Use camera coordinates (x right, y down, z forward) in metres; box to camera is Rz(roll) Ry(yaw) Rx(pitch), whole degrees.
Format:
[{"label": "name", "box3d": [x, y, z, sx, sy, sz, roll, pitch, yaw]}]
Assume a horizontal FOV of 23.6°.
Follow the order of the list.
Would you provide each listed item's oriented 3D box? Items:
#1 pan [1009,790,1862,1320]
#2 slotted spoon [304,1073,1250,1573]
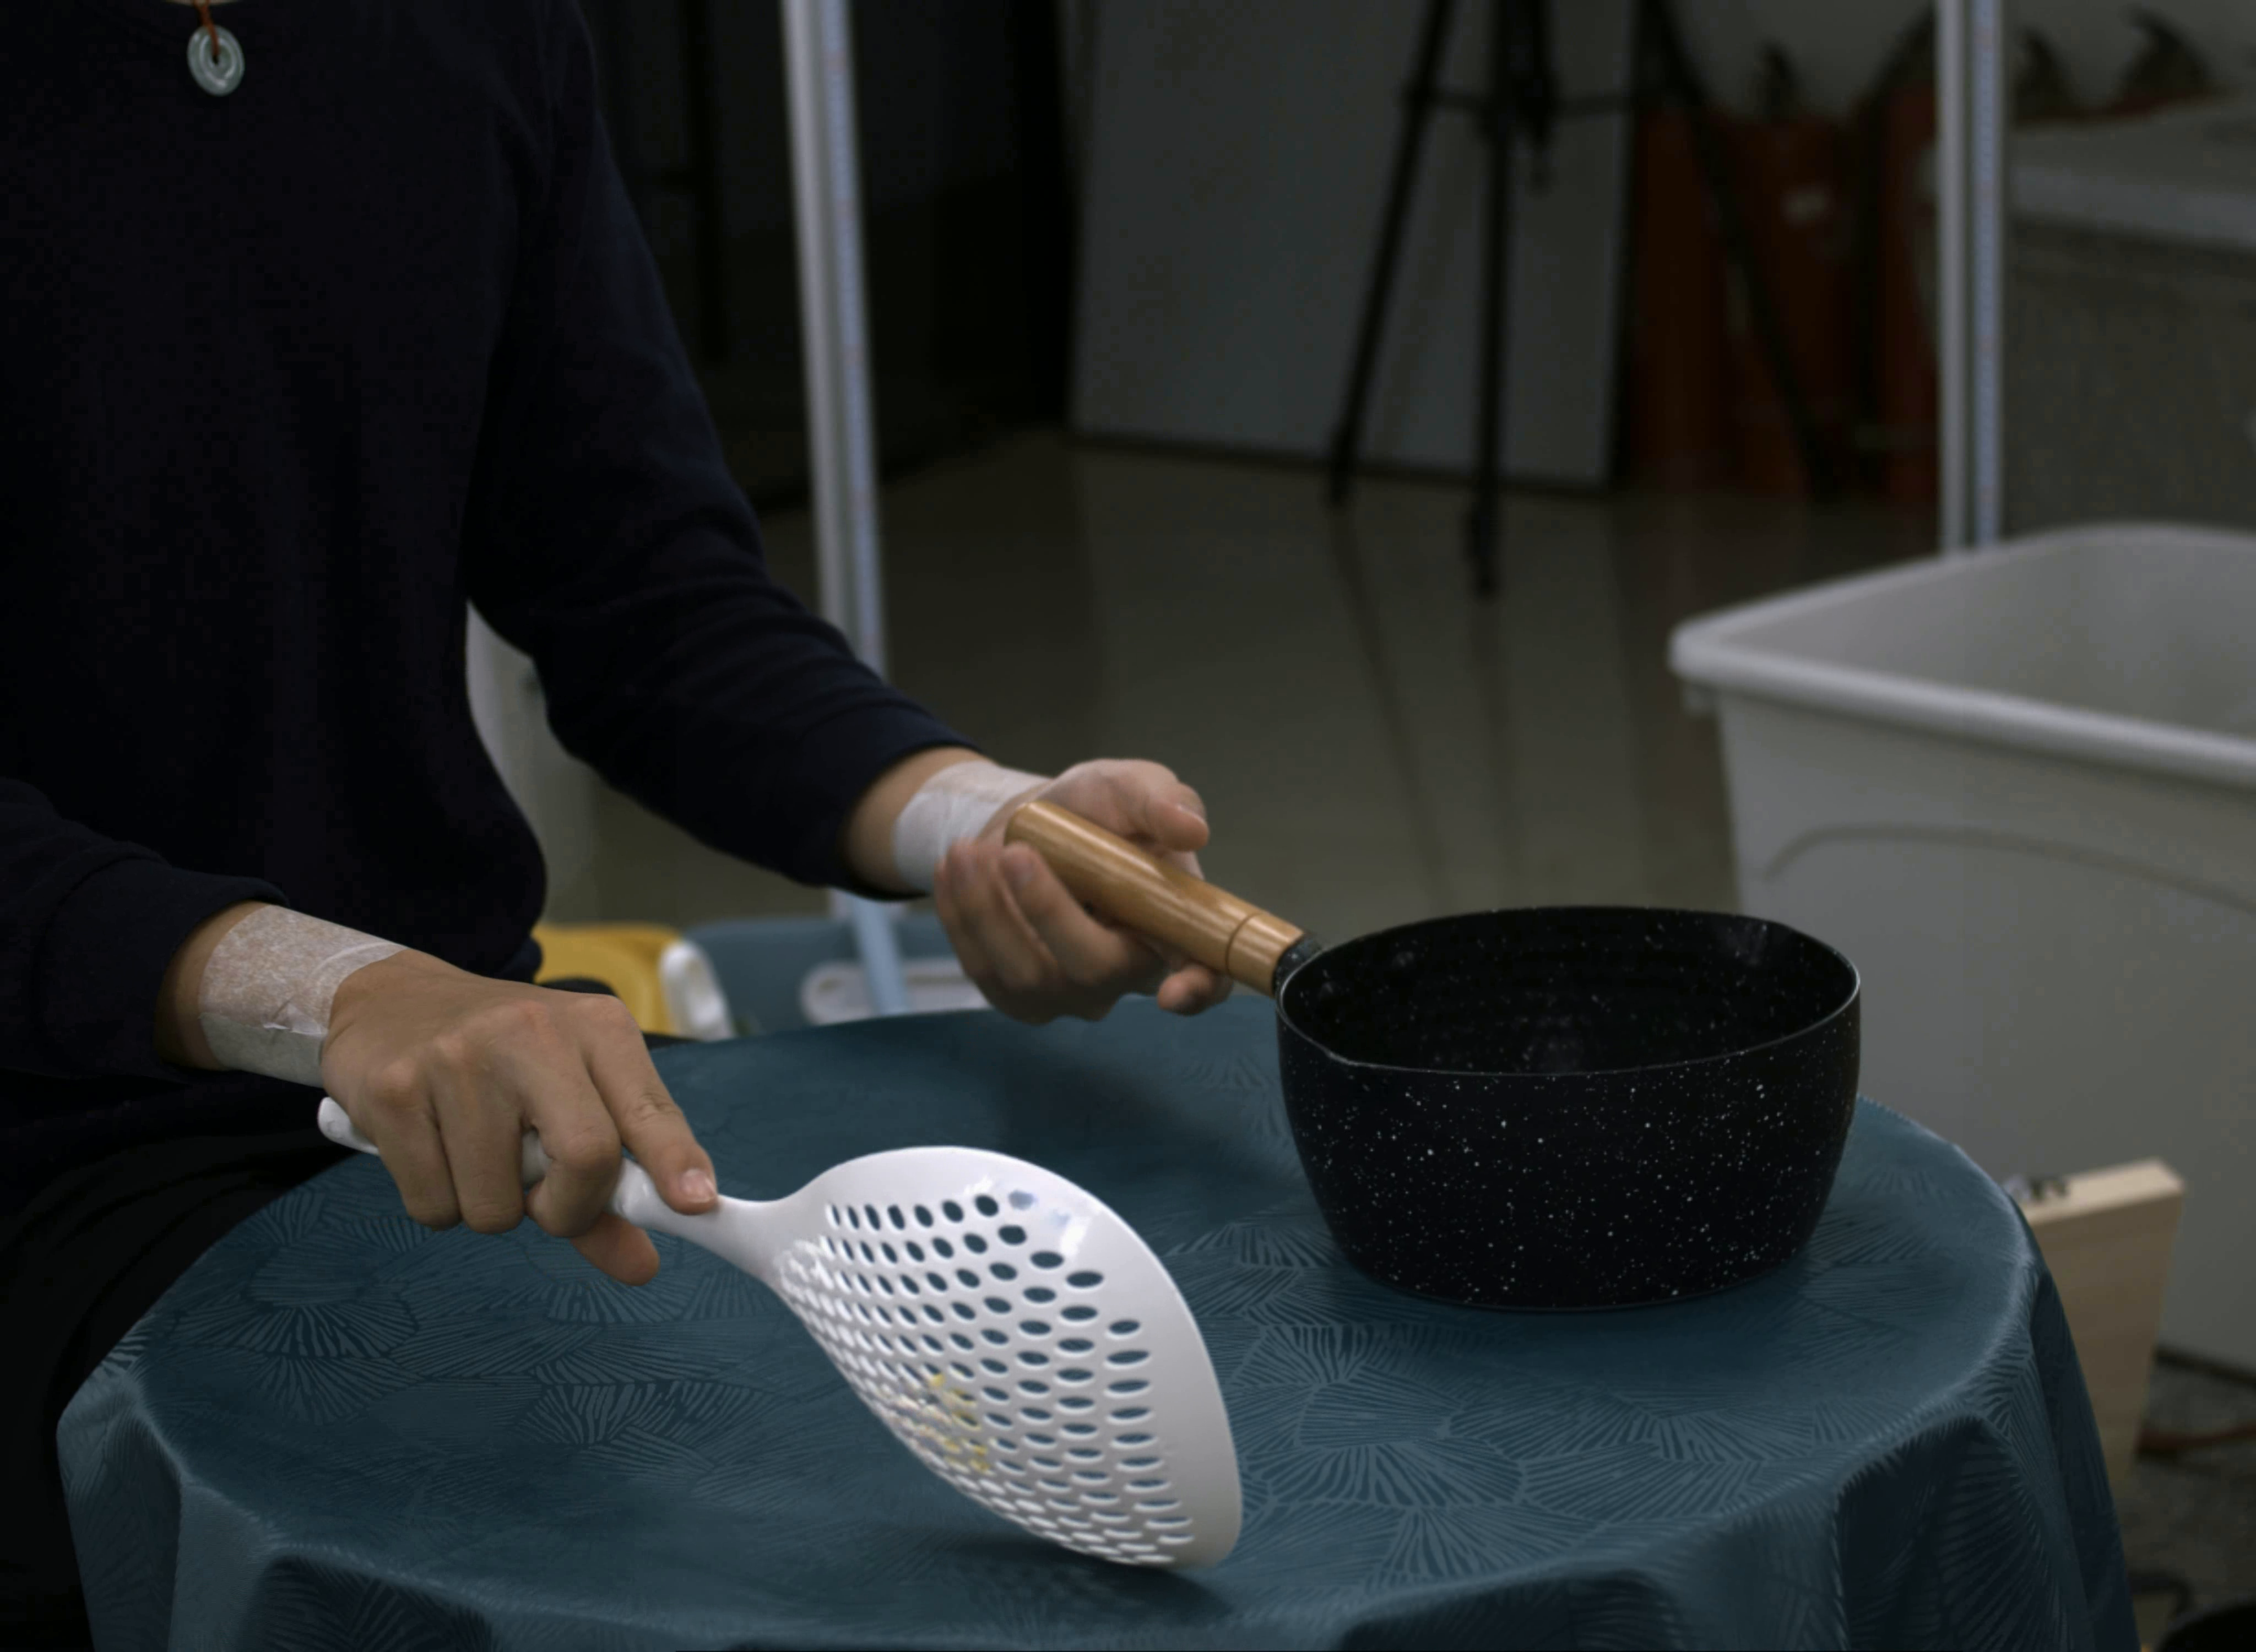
[{"label": "pan", "box3d": [0.083, 0.066, 1.739, 0.203, 0.109, 0.346, -18, 21, -41]}, {"label": "slotted spoon", "box3d": [-0.106, 0.120, 1.497, 0.049, 0.137, 0.351, -34, 37, -31]}]
